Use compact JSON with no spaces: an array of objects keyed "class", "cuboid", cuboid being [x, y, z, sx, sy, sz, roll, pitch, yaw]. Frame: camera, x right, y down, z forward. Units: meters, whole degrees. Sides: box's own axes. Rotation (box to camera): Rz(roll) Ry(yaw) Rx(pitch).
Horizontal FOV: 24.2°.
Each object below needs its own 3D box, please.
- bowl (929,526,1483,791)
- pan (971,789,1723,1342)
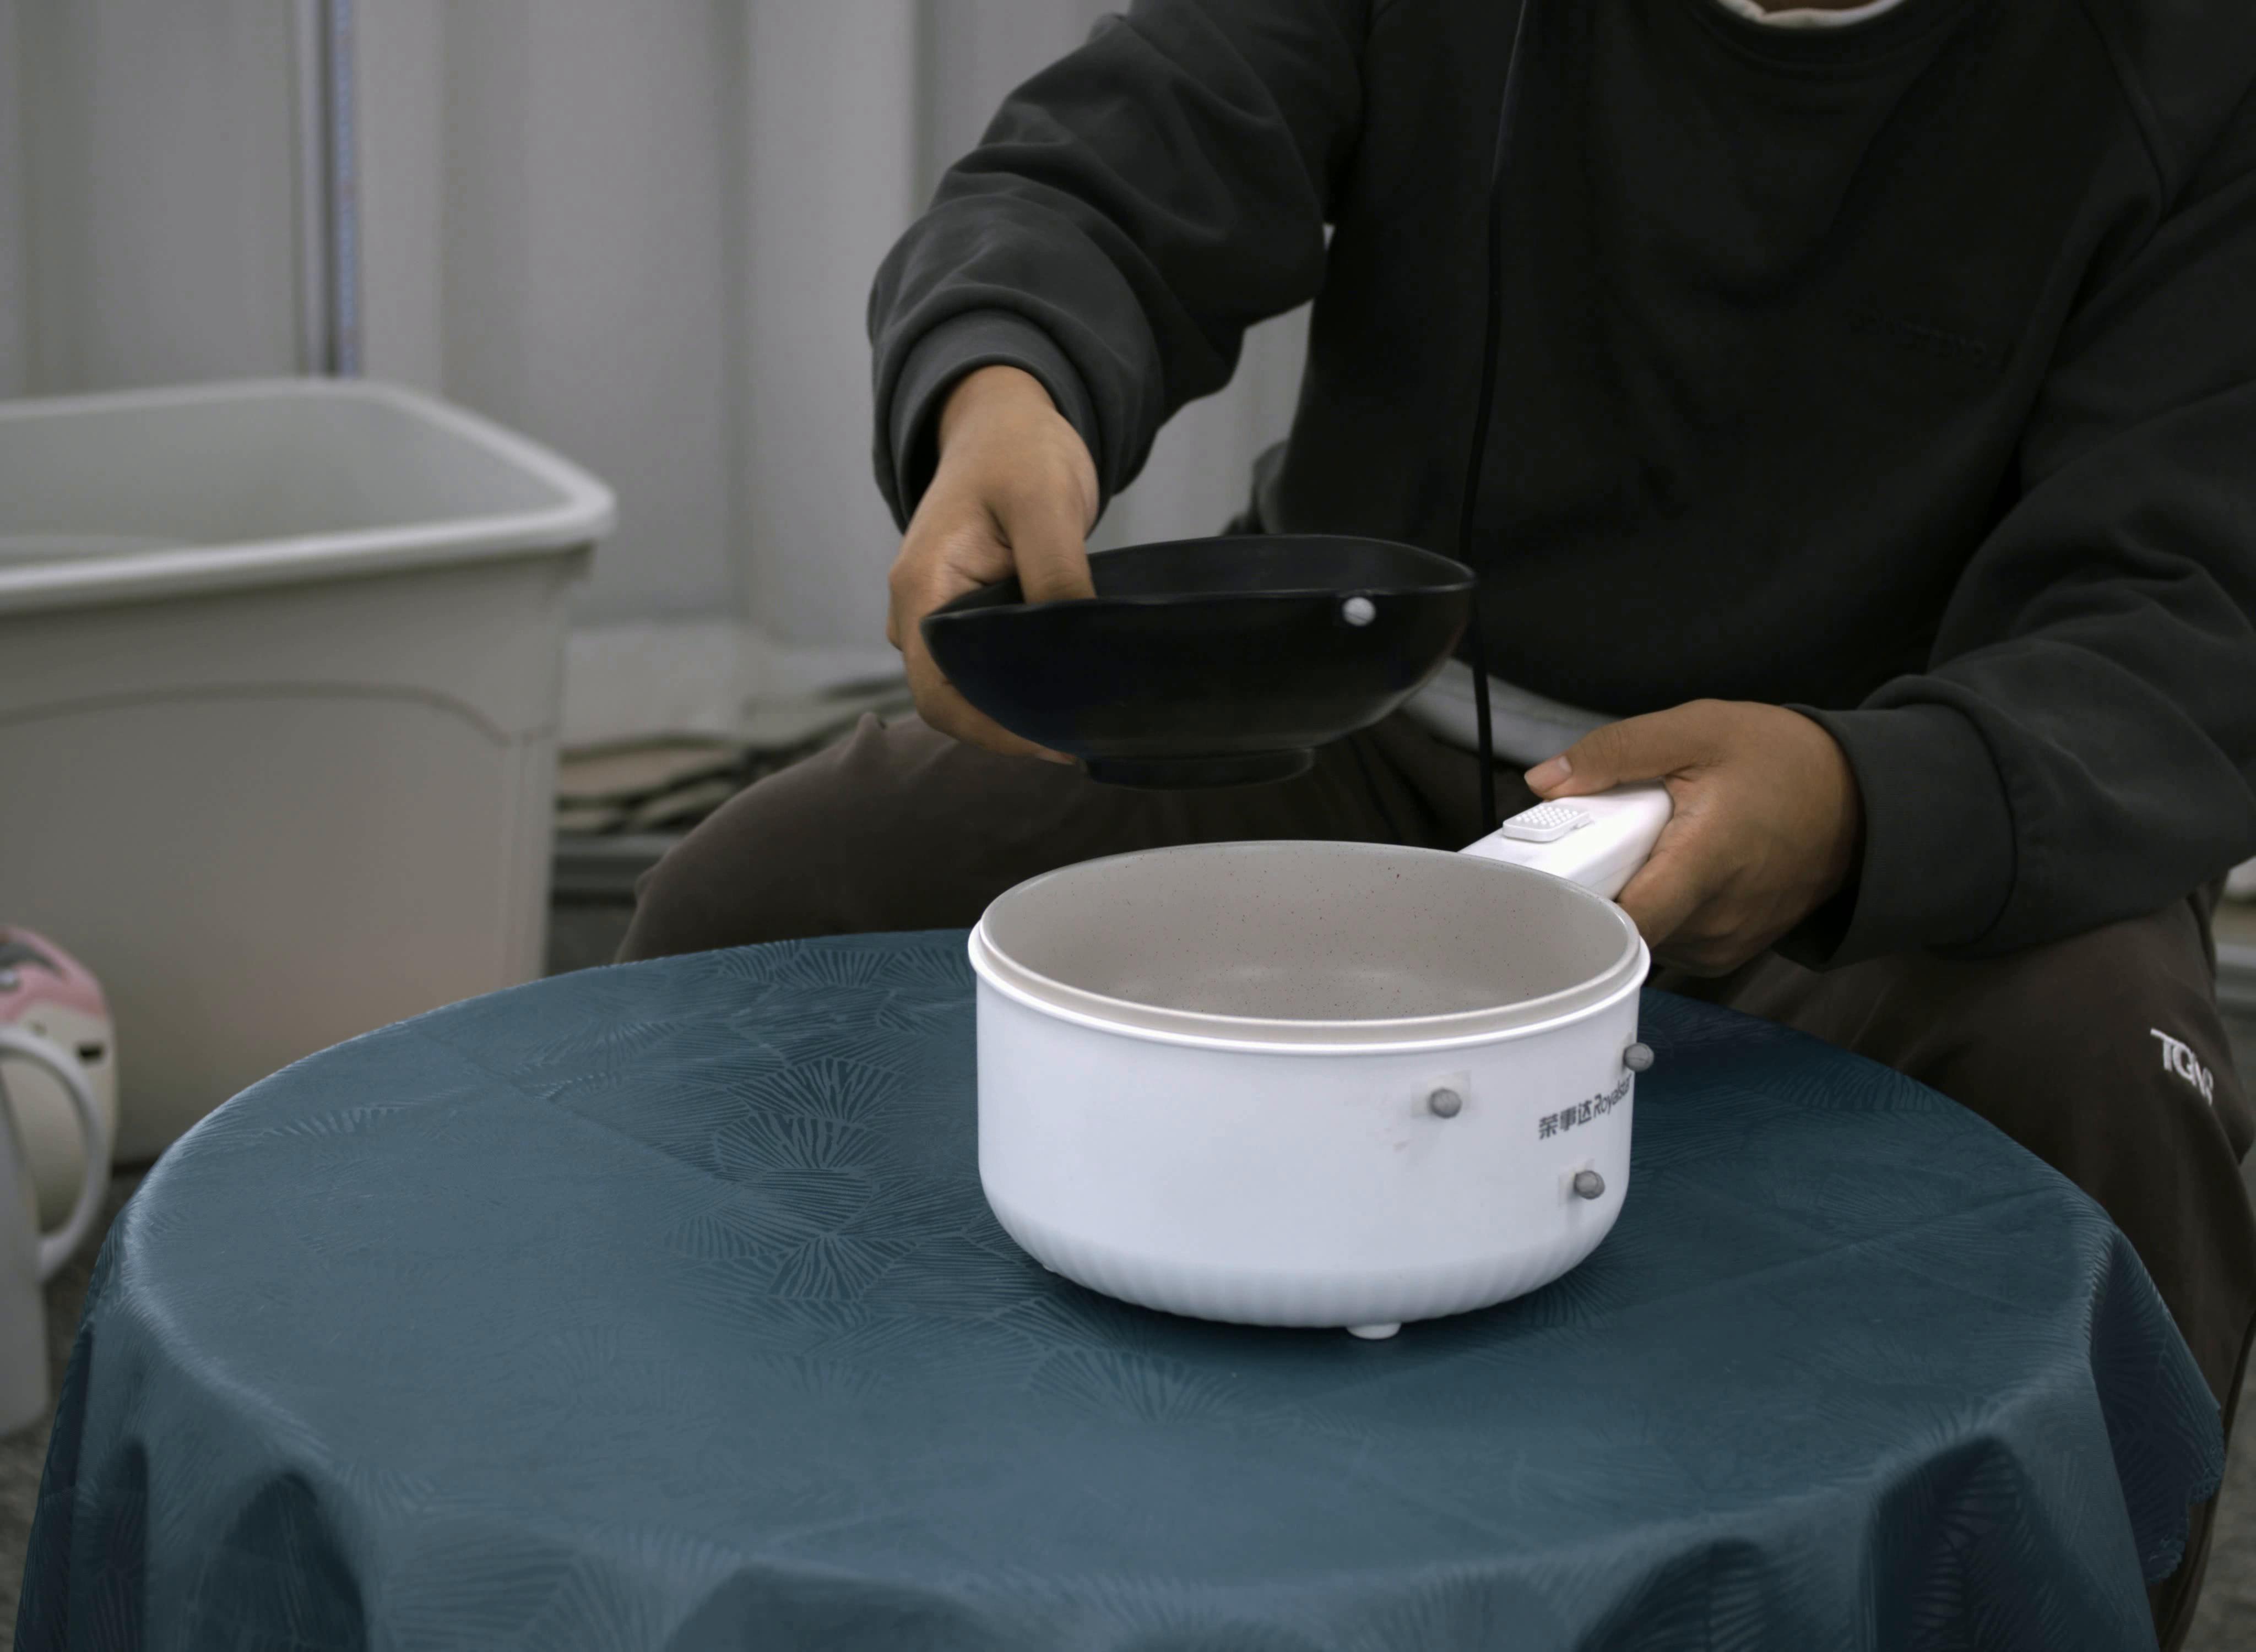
[{"class":"bowl","cuboid":[0.023,-0.048,1.580,0.169,0.067,0.137,-2,10,10]},{"class":"pan","cuboid":[0.092,0.067,1.629,0.199,0.103,0.356,7,14,29]}]
